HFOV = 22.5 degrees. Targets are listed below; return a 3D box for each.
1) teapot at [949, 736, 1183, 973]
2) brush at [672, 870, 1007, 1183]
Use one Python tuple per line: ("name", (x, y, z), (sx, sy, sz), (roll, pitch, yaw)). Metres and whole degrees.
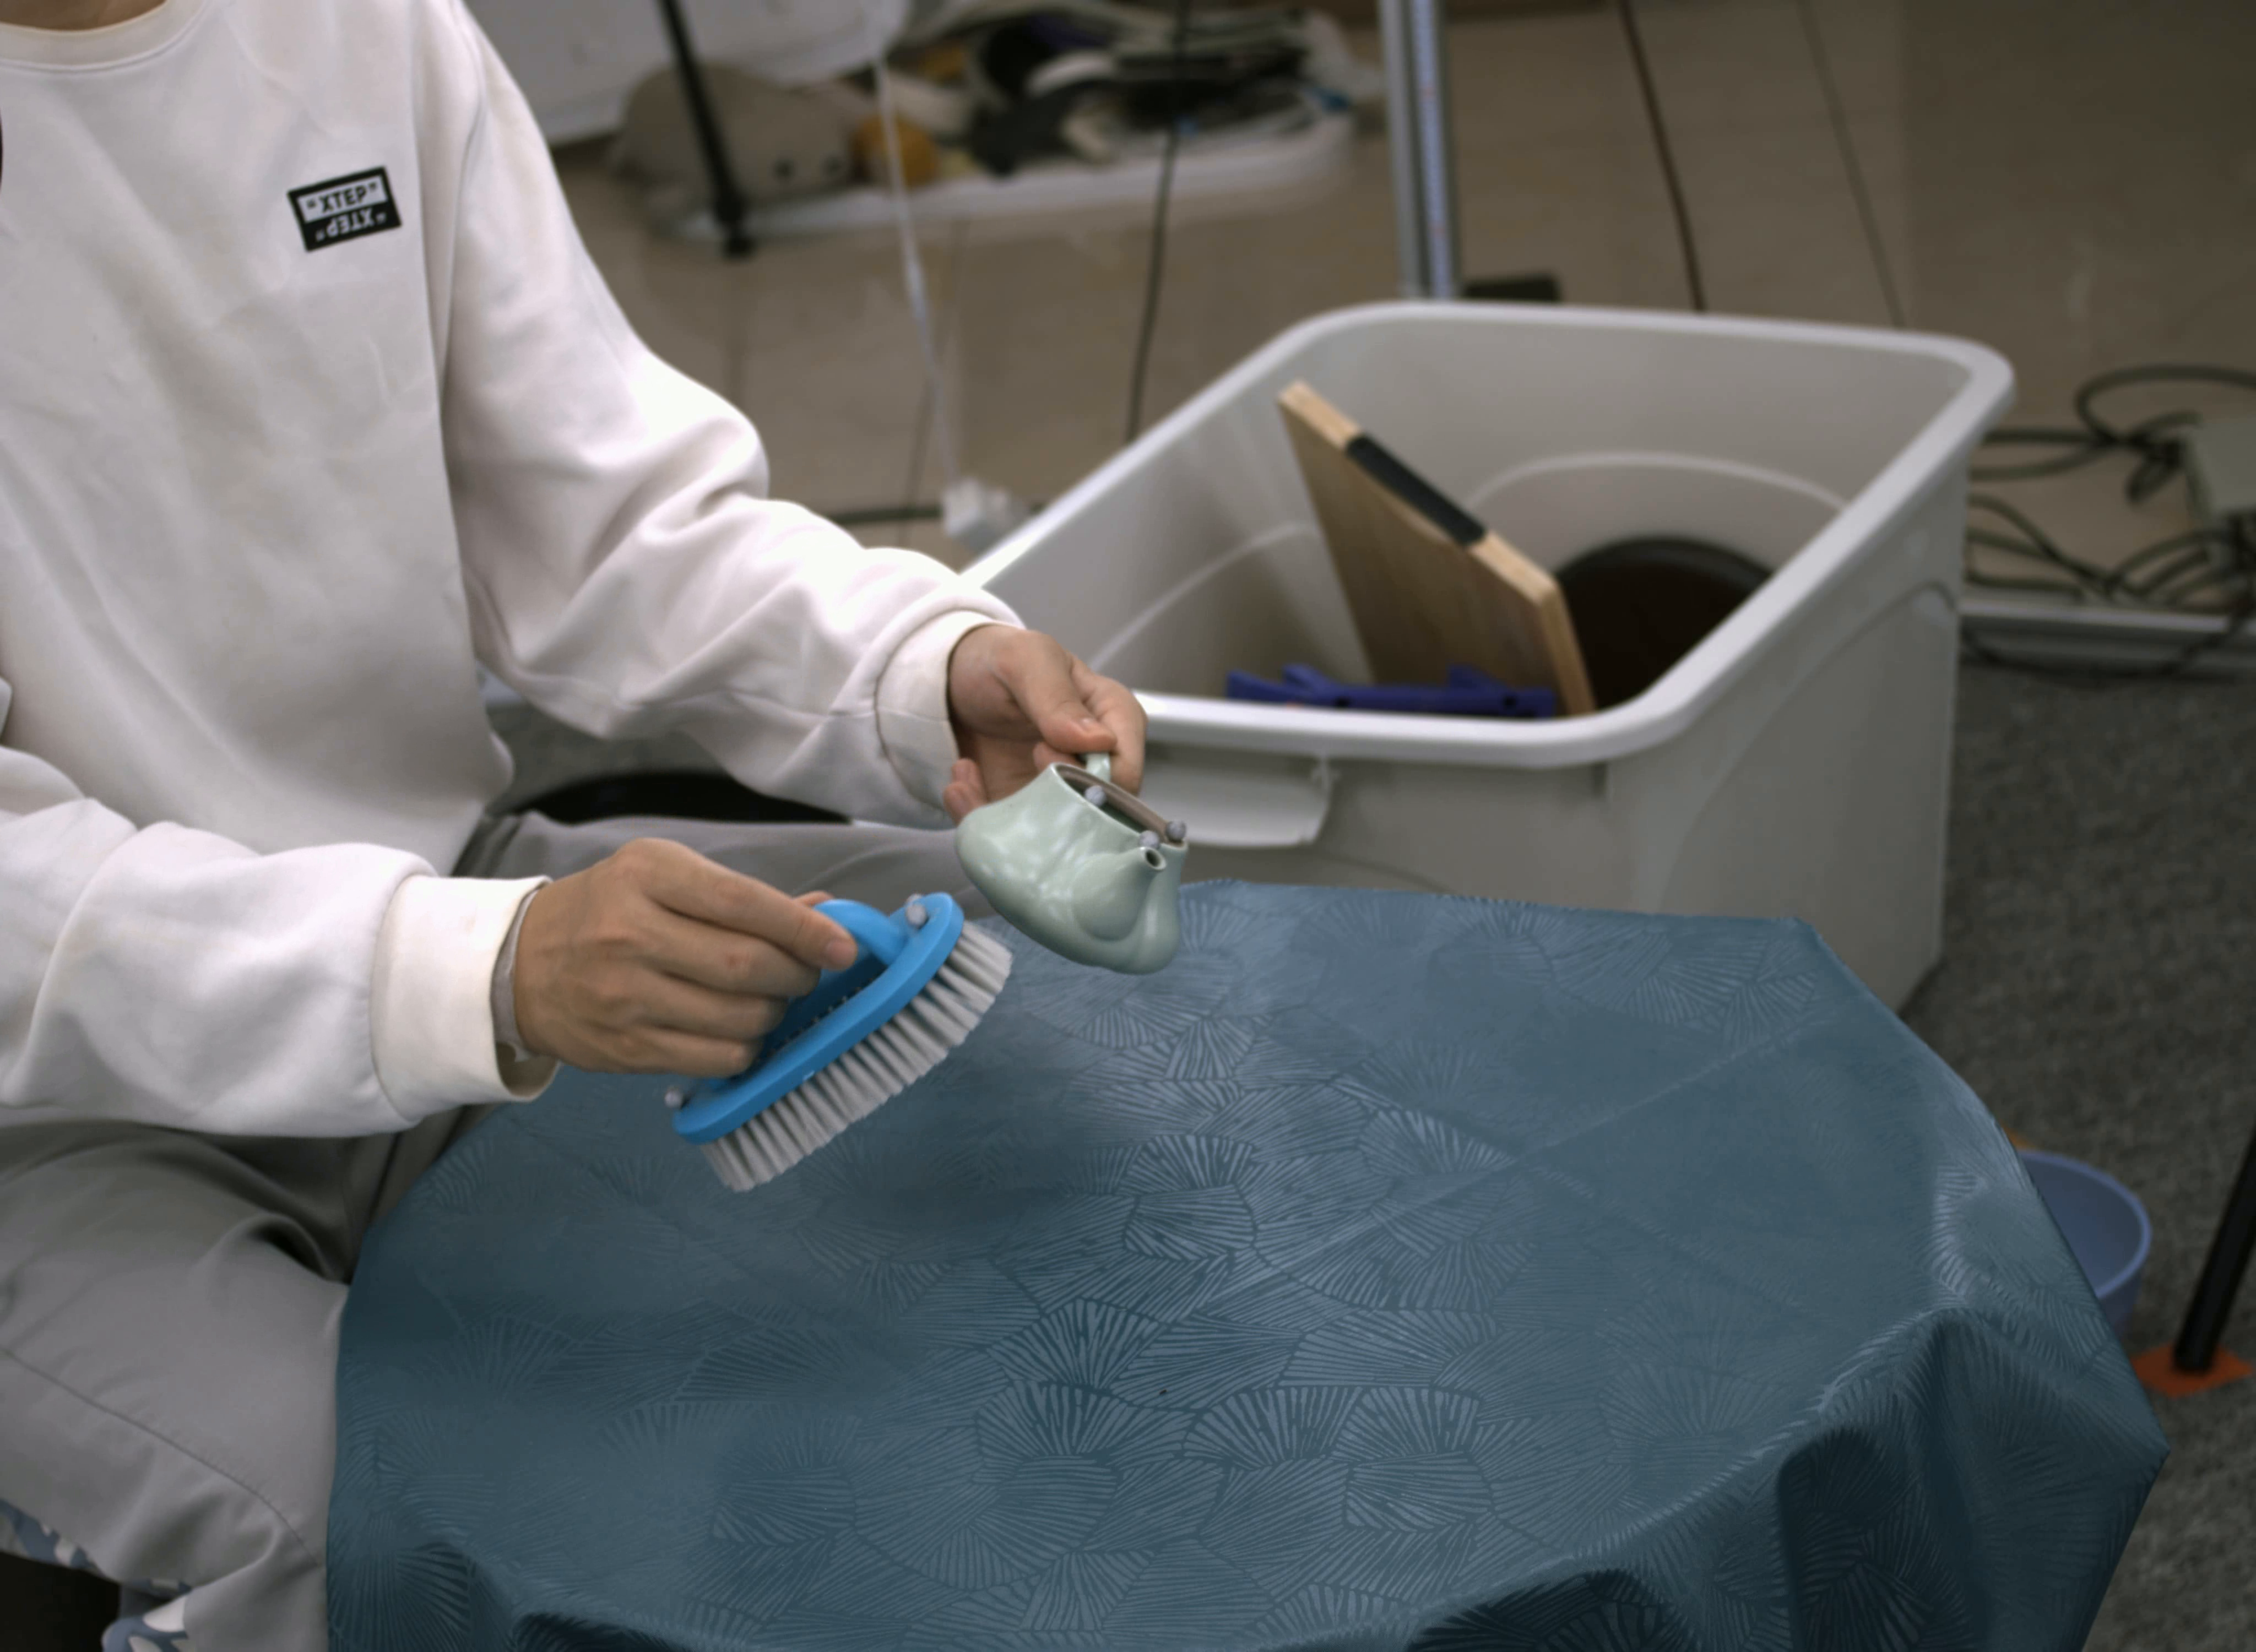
("teapot", (-0.019, 0.012, 2.162), (0.097, 0.062, 0.135), (26, 15, -22))
("brush", (-0.114, 0.065, 2.047), (0.143, 0.064, 0.083), (-37, 24, 22))
